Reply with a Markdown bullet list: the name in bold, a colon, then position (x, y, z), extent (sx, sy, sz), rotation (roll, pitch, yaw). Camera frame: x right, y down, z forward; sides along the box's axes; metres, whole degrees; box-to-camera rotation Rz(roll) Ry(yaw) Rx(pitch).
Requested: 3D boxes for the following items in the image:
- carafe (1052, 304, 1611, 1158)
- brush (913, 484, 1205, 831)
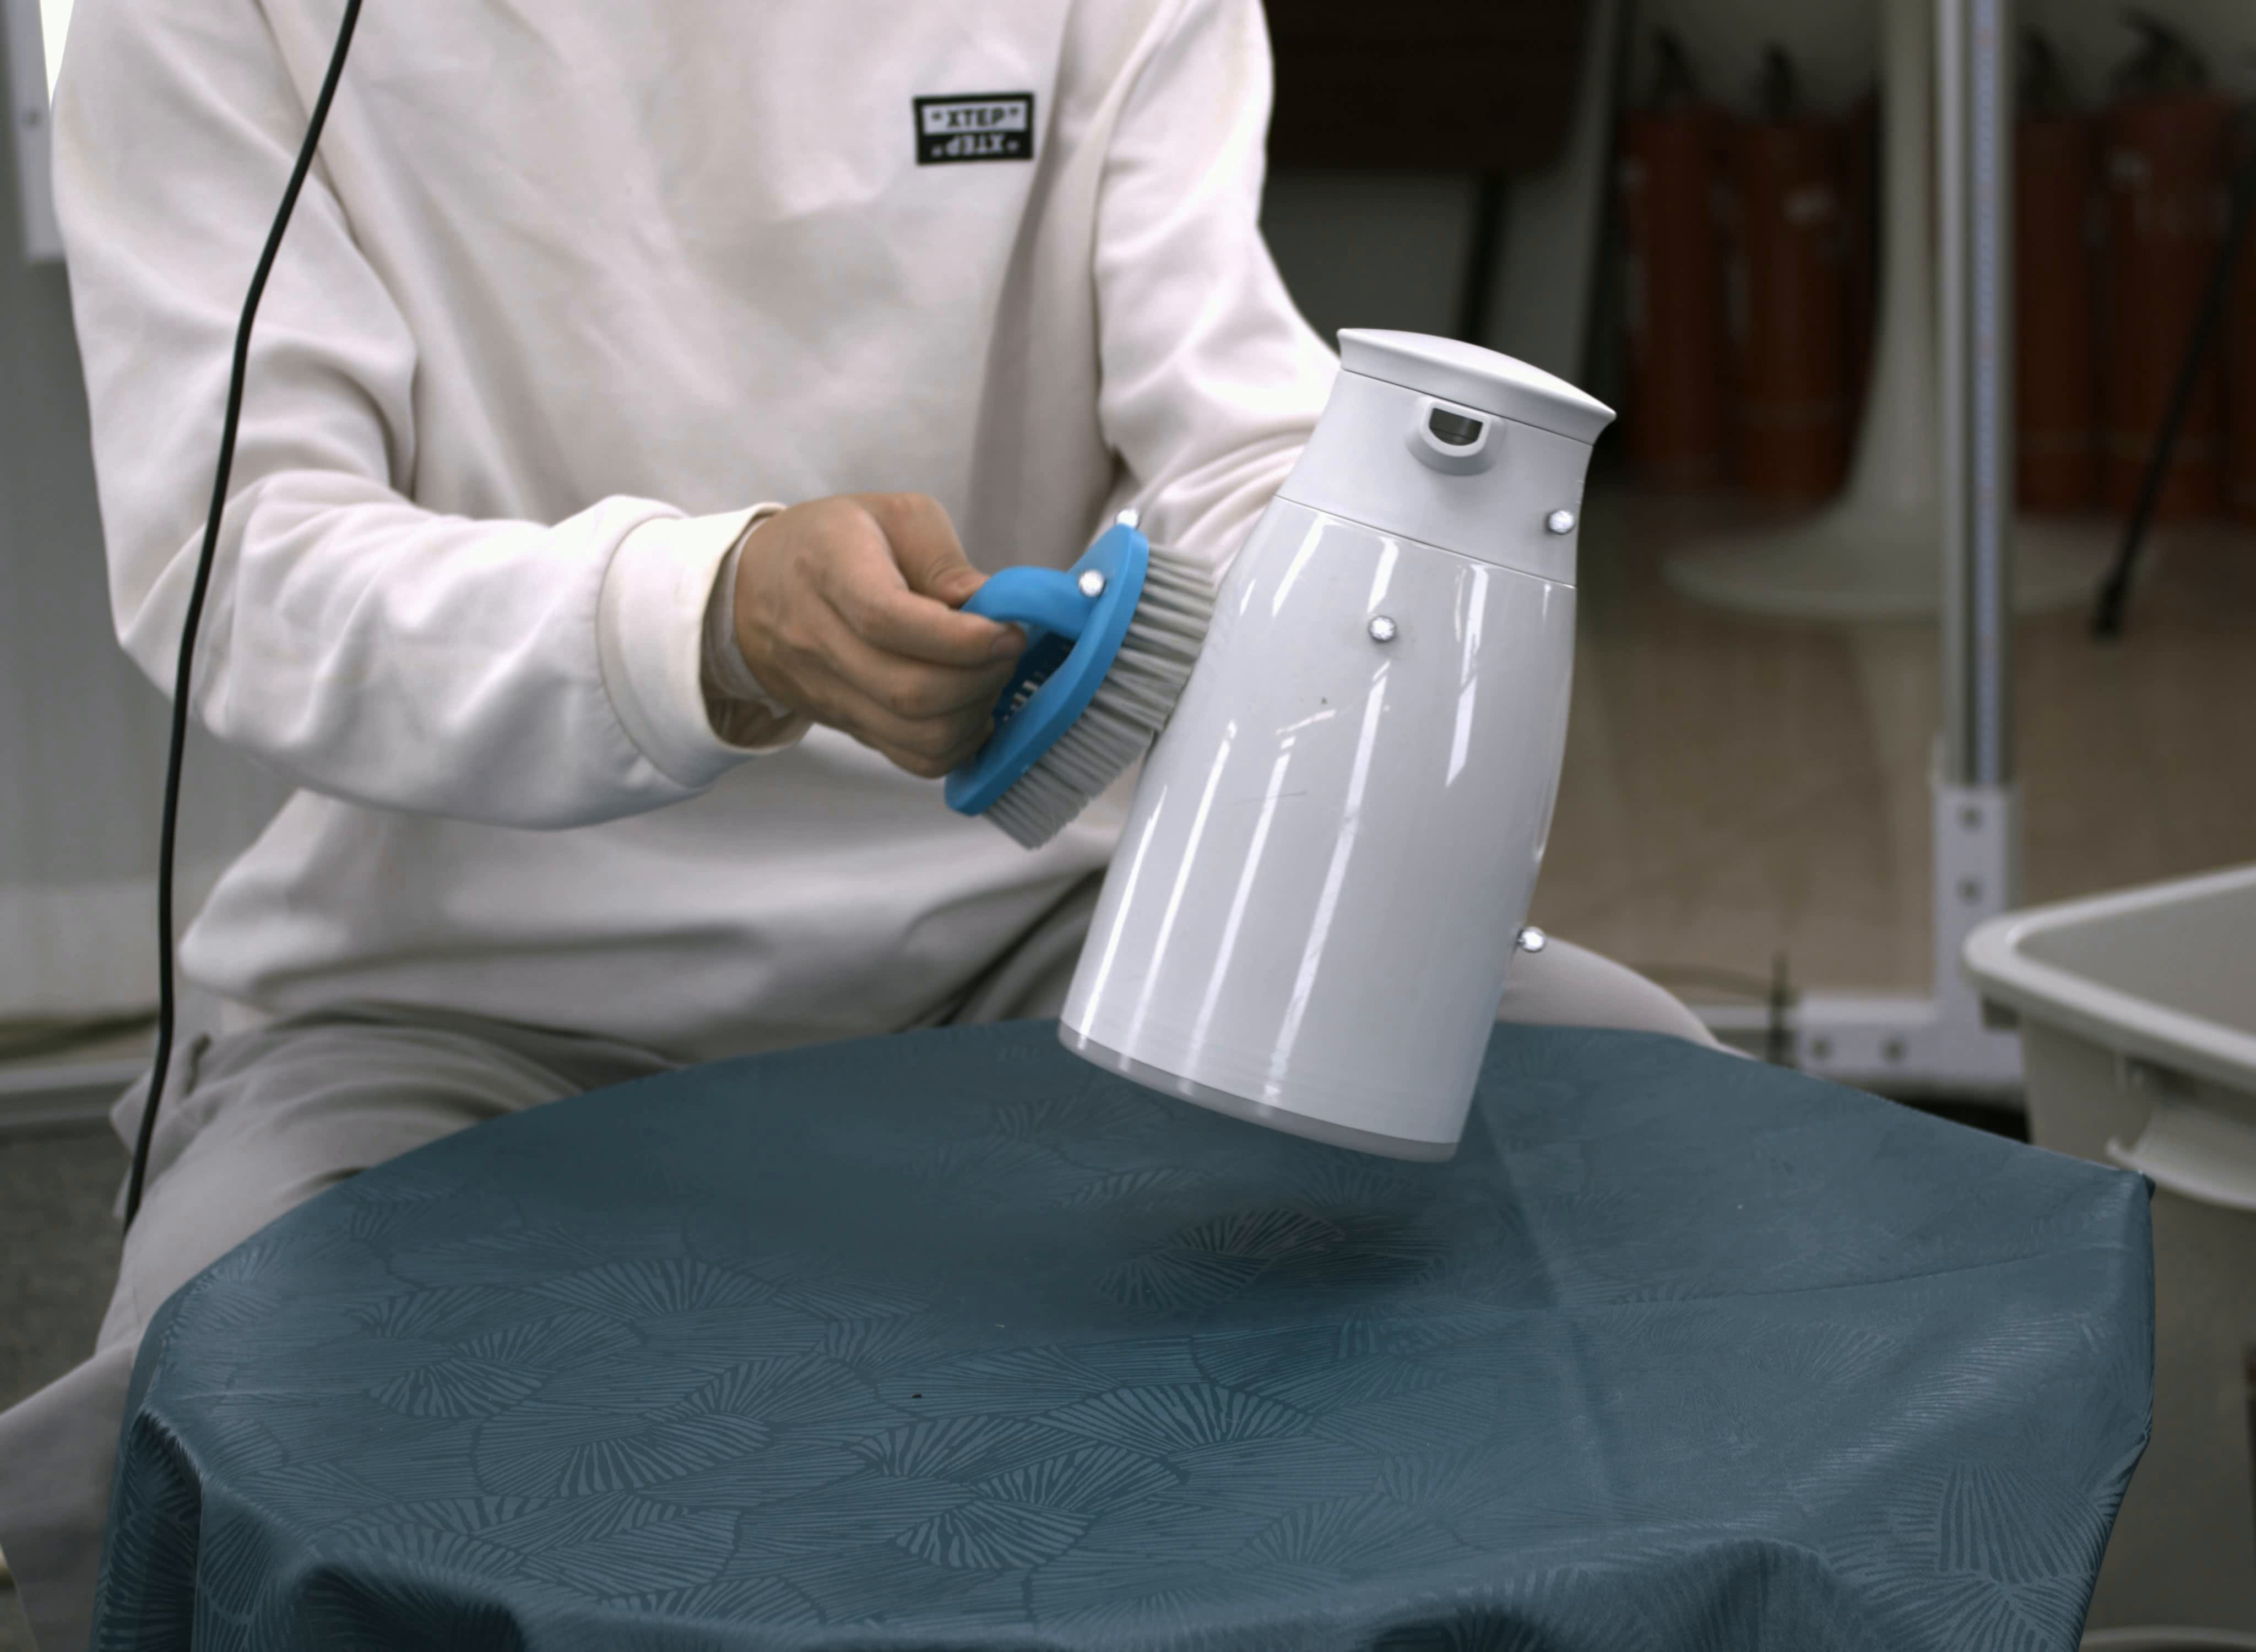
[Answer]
- **carafe**: position (0.074, -0.036, 1.705), extent (0.131, 0.251, 0.167), rotation (17, 3, 3)
- **brush**: position (-0.030, -0.056, 1.721), extent (0.063, 0.085, 0.143), rotation (20, -27, -15)
